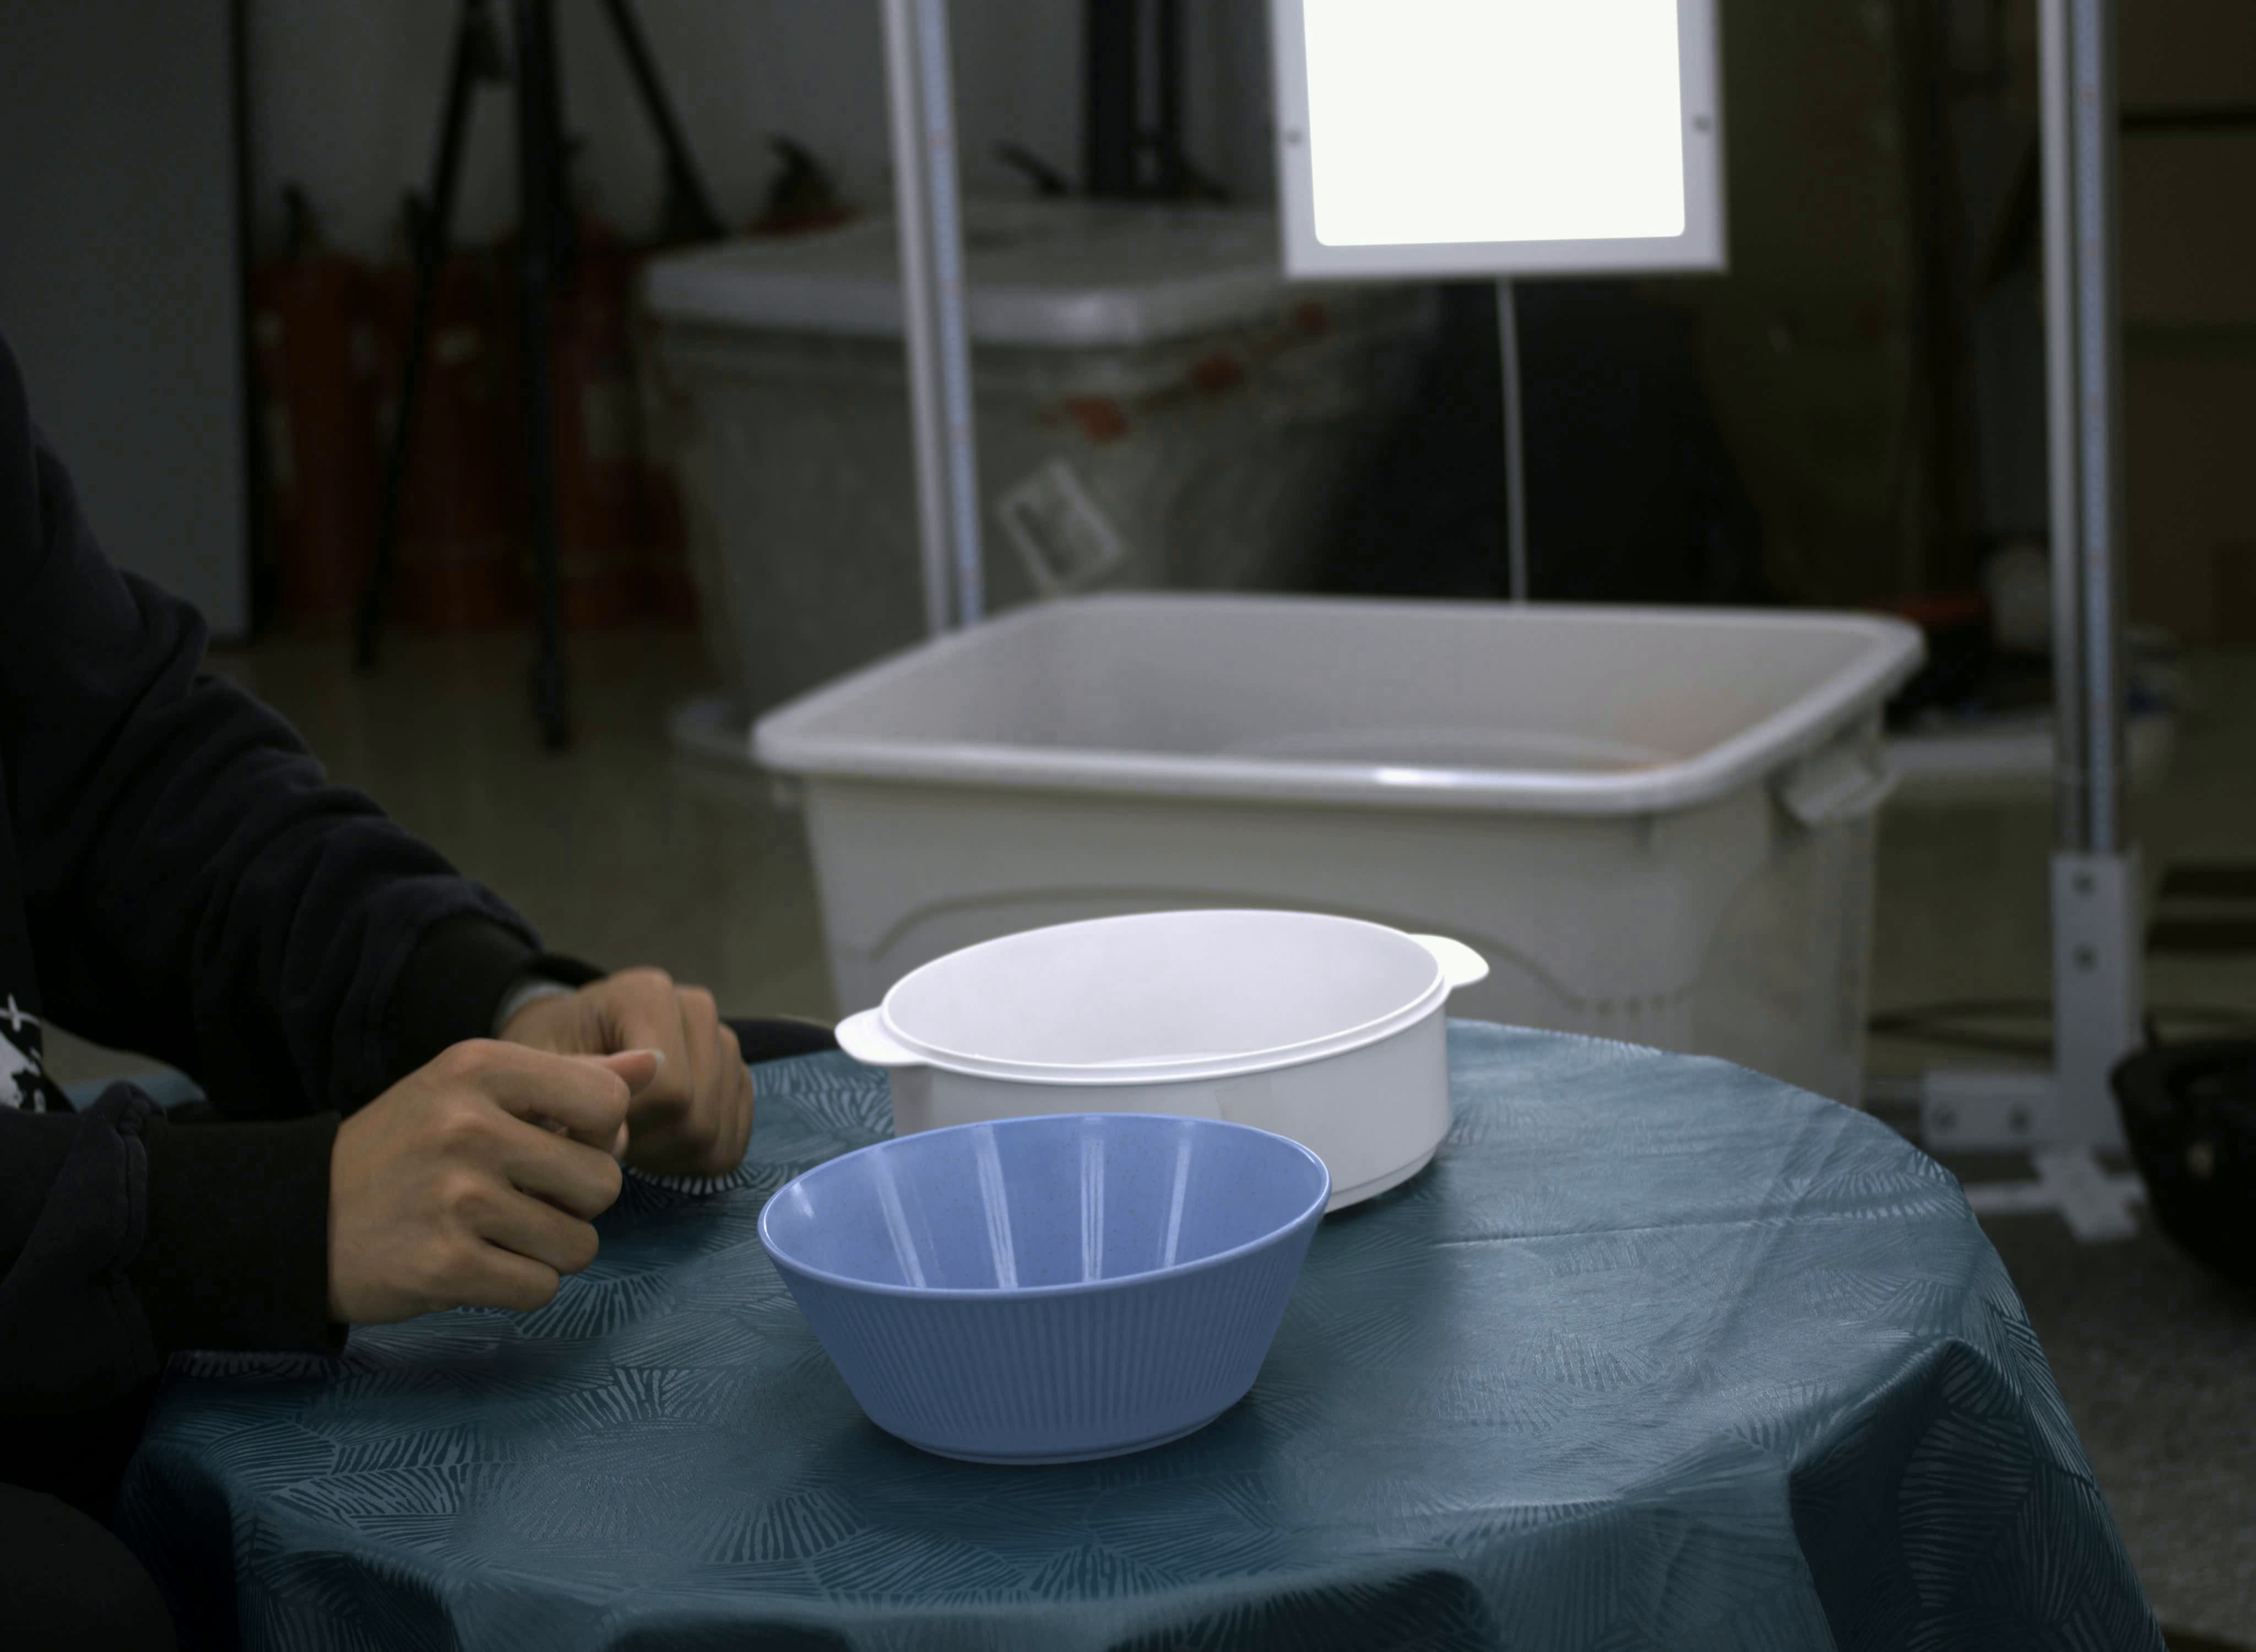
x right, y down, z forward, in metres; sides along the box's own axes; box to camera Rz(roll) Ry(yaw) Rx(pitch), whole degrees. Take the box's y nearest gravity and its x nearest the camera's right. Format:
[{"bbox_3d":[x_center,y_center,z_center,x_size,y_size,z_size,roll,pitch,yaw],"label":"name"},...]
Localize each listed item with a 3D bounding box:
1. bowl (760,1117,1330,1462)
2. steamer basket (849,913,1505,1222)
[{"bbox_3d":[-0.023,0.144,1.684,0.175,0.070,0.176,-5,13,0],"label":"bowl"},{"bbox_3d":[0.019,0.086,1.914,0.227,0.069,0.203,-6,13,-12],"label":"steamer basket"}]
